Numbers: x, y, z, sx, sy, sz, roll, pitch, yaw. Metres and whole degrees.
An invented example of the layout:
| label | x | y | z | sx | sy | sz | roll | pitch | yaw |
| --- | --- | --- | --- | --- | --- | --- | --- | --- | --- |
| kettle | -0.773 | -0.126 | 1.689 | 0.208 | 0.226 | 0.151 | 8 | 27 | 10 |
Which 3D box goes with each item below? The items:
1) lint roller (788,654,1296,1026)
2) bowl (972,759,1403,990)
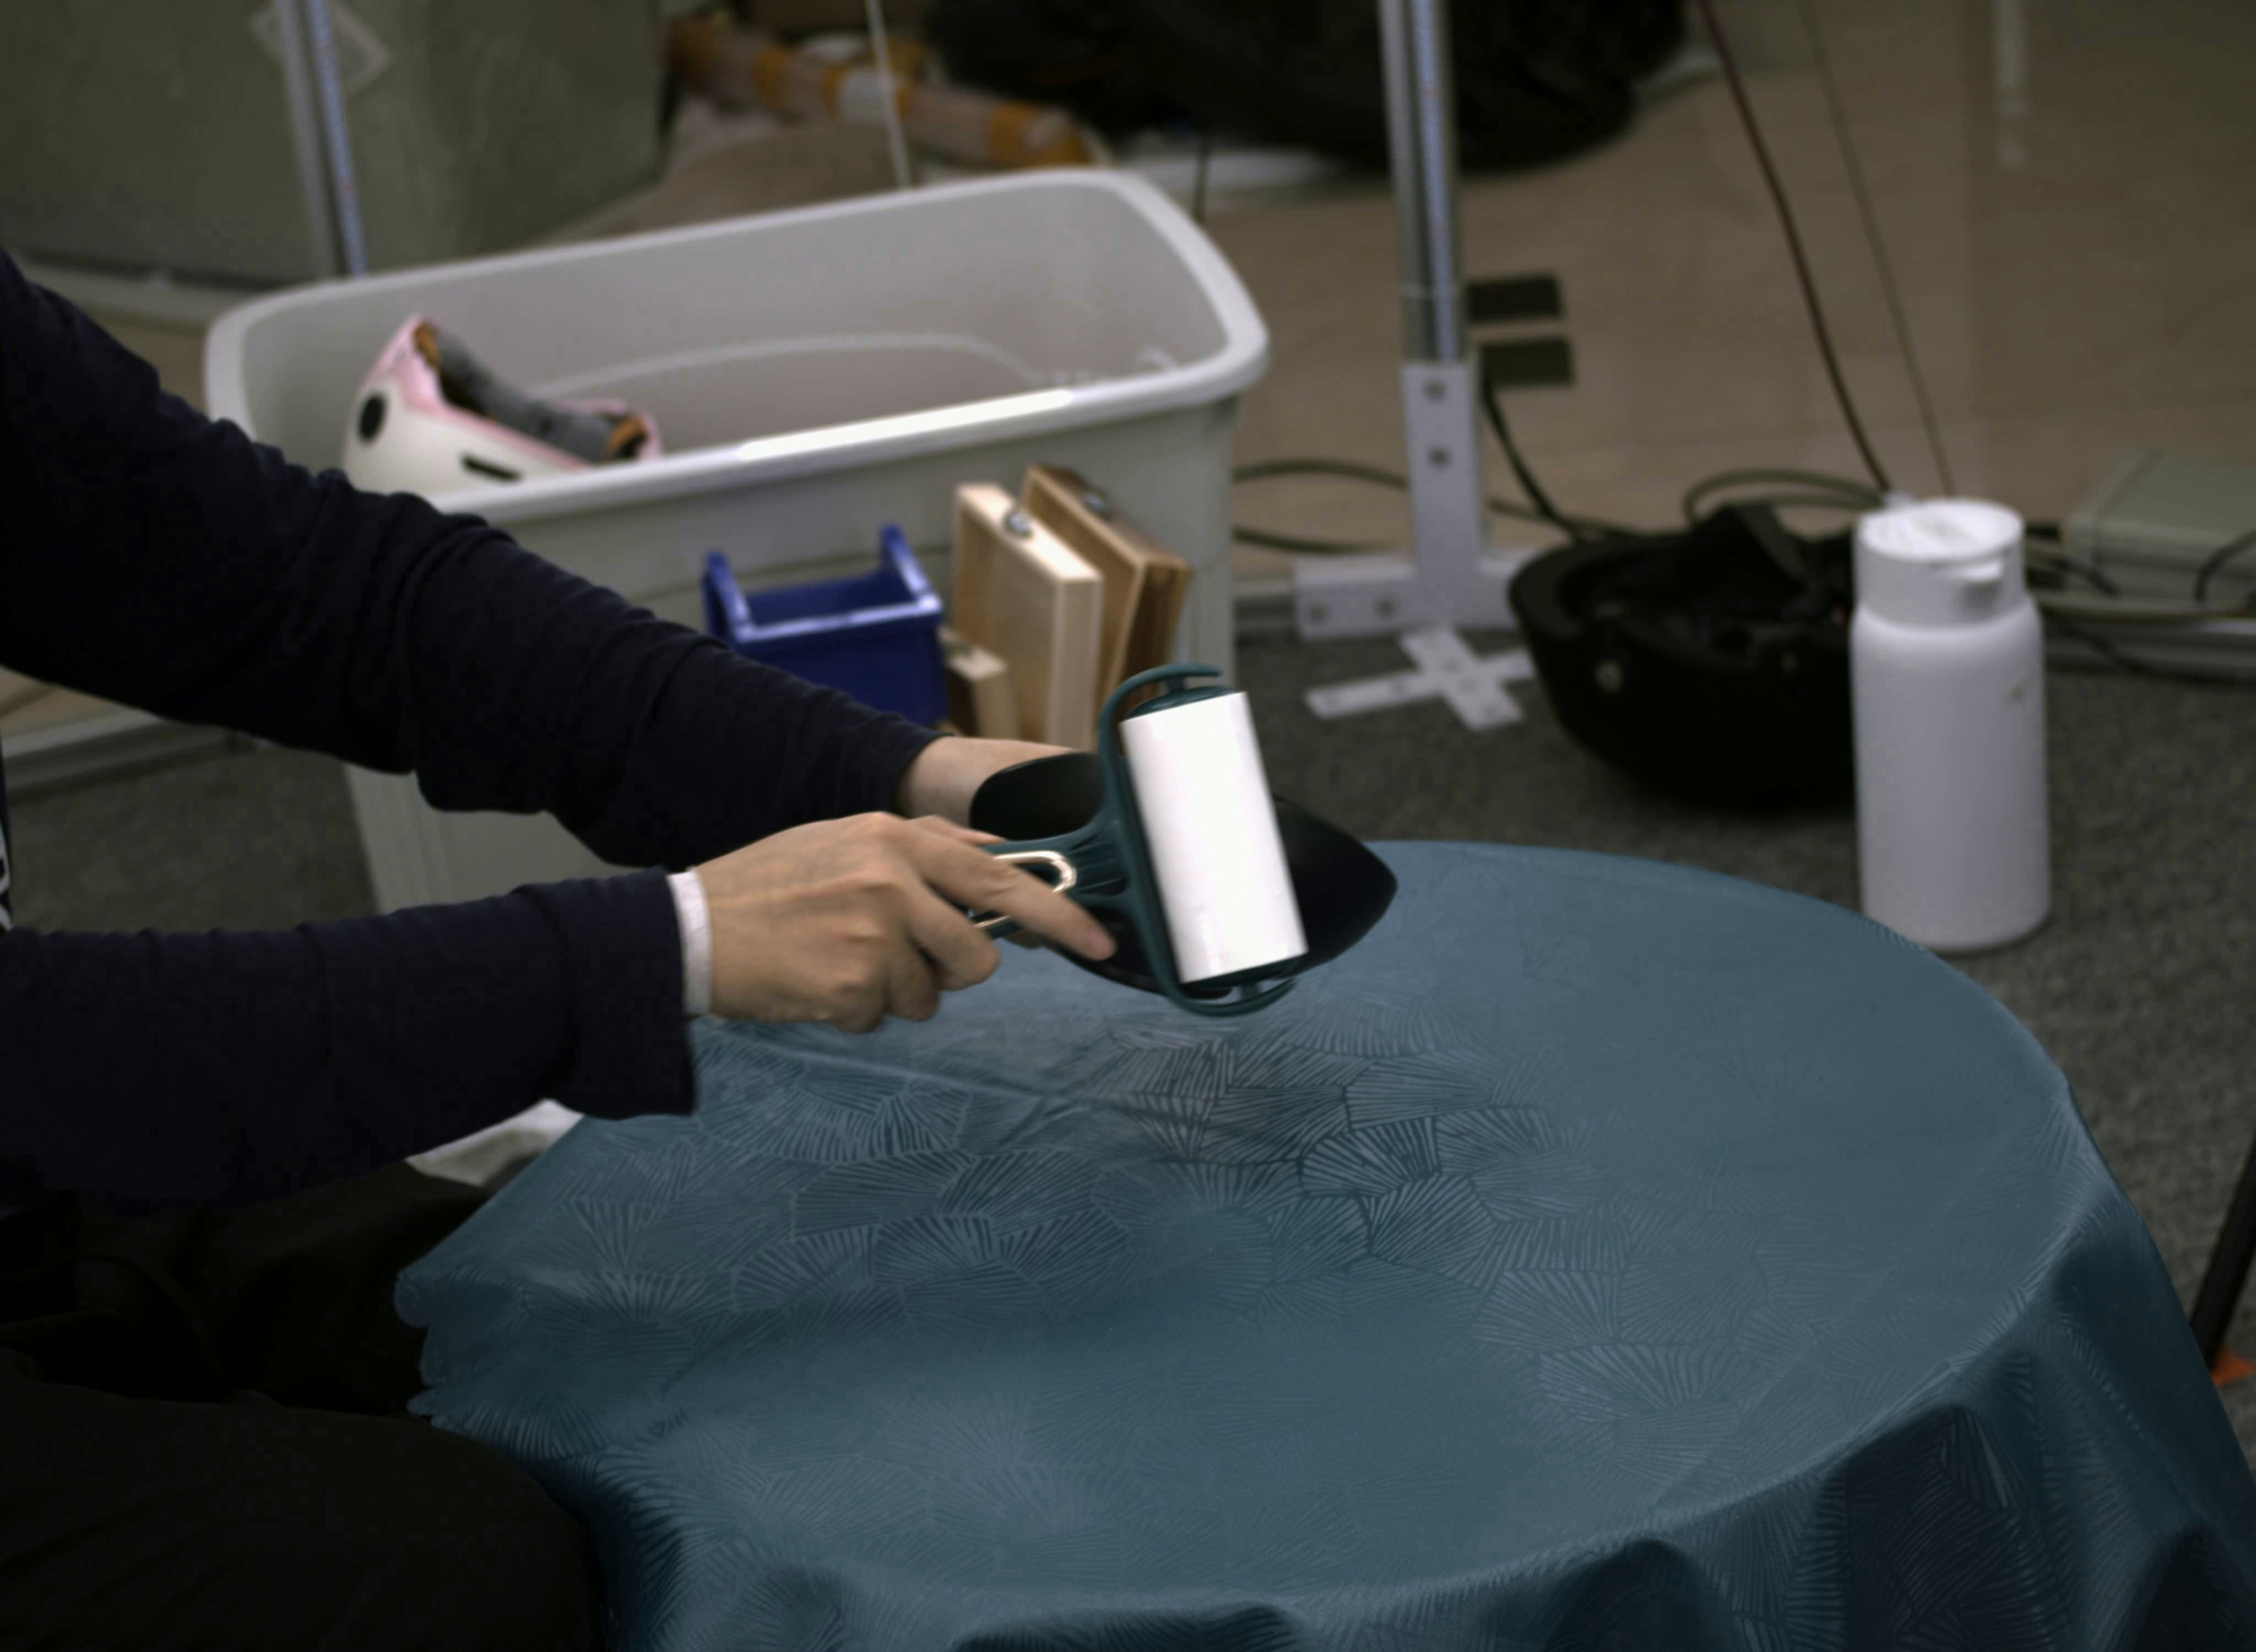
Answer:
| label | x | y | z | sx | sy | sz | roll | pitch | yaw |
| --- | --- | --- | --- | --- | --- | --- | --- | --- | --- |
| lint roller | -0.037 | 0.022 | 2.079 | 0.180 | 0.134 | 0.048 | -14 | 2 | -4 |
| bowl | 0.017 | 0.025 | 2.167 | 0.170 | 0.139 | 0.066 | 10 | 74 | 13 |
